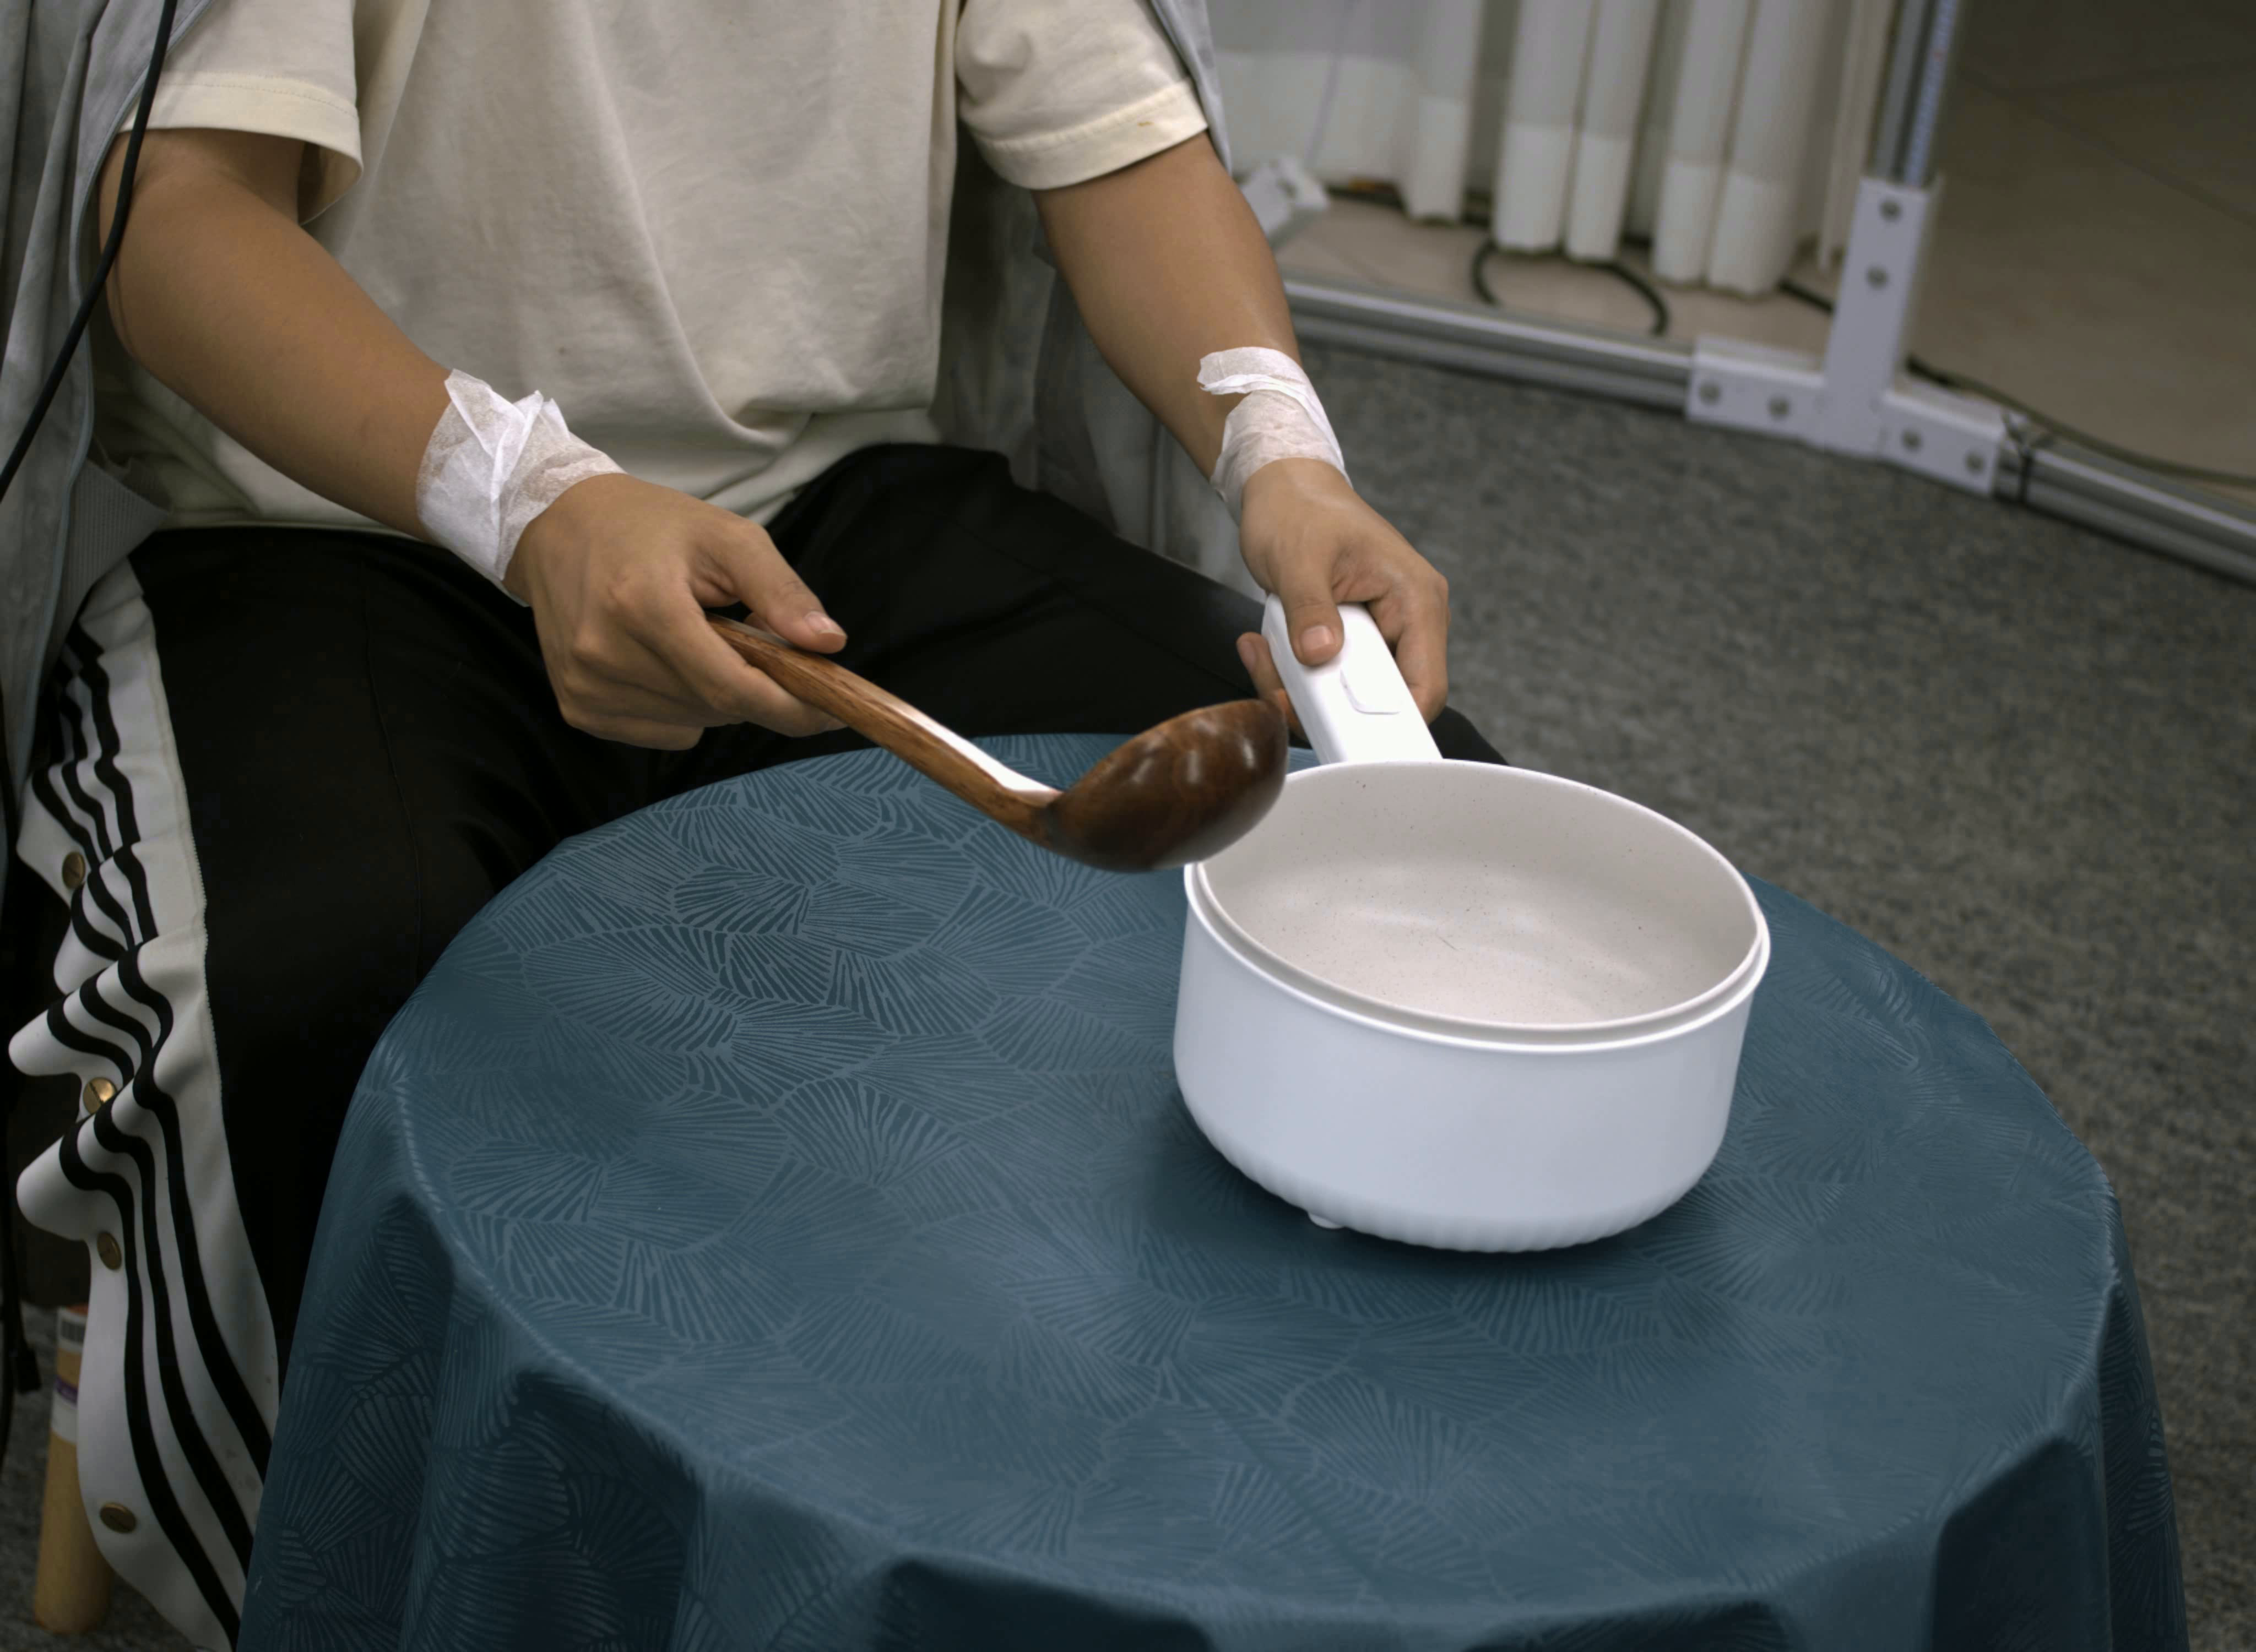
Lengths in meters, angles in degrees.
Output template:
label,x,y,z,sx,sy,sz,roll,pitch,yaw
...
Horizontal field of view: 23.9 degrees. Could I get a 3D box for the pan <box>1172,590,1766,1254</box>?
label,x,y,z,sx,sy,sz,roll,pitch,yaw
pan,0.100,0.031,1.902,0.200,0.102,0.357,0,27,-11

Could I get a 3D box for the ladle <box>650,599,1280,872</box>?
label,x,y,z,sx,sy,sz,roll,pitch,yaw
ladle,-0.061,-0.053,1.772,0.276,0.076,0.081,30,12,40
